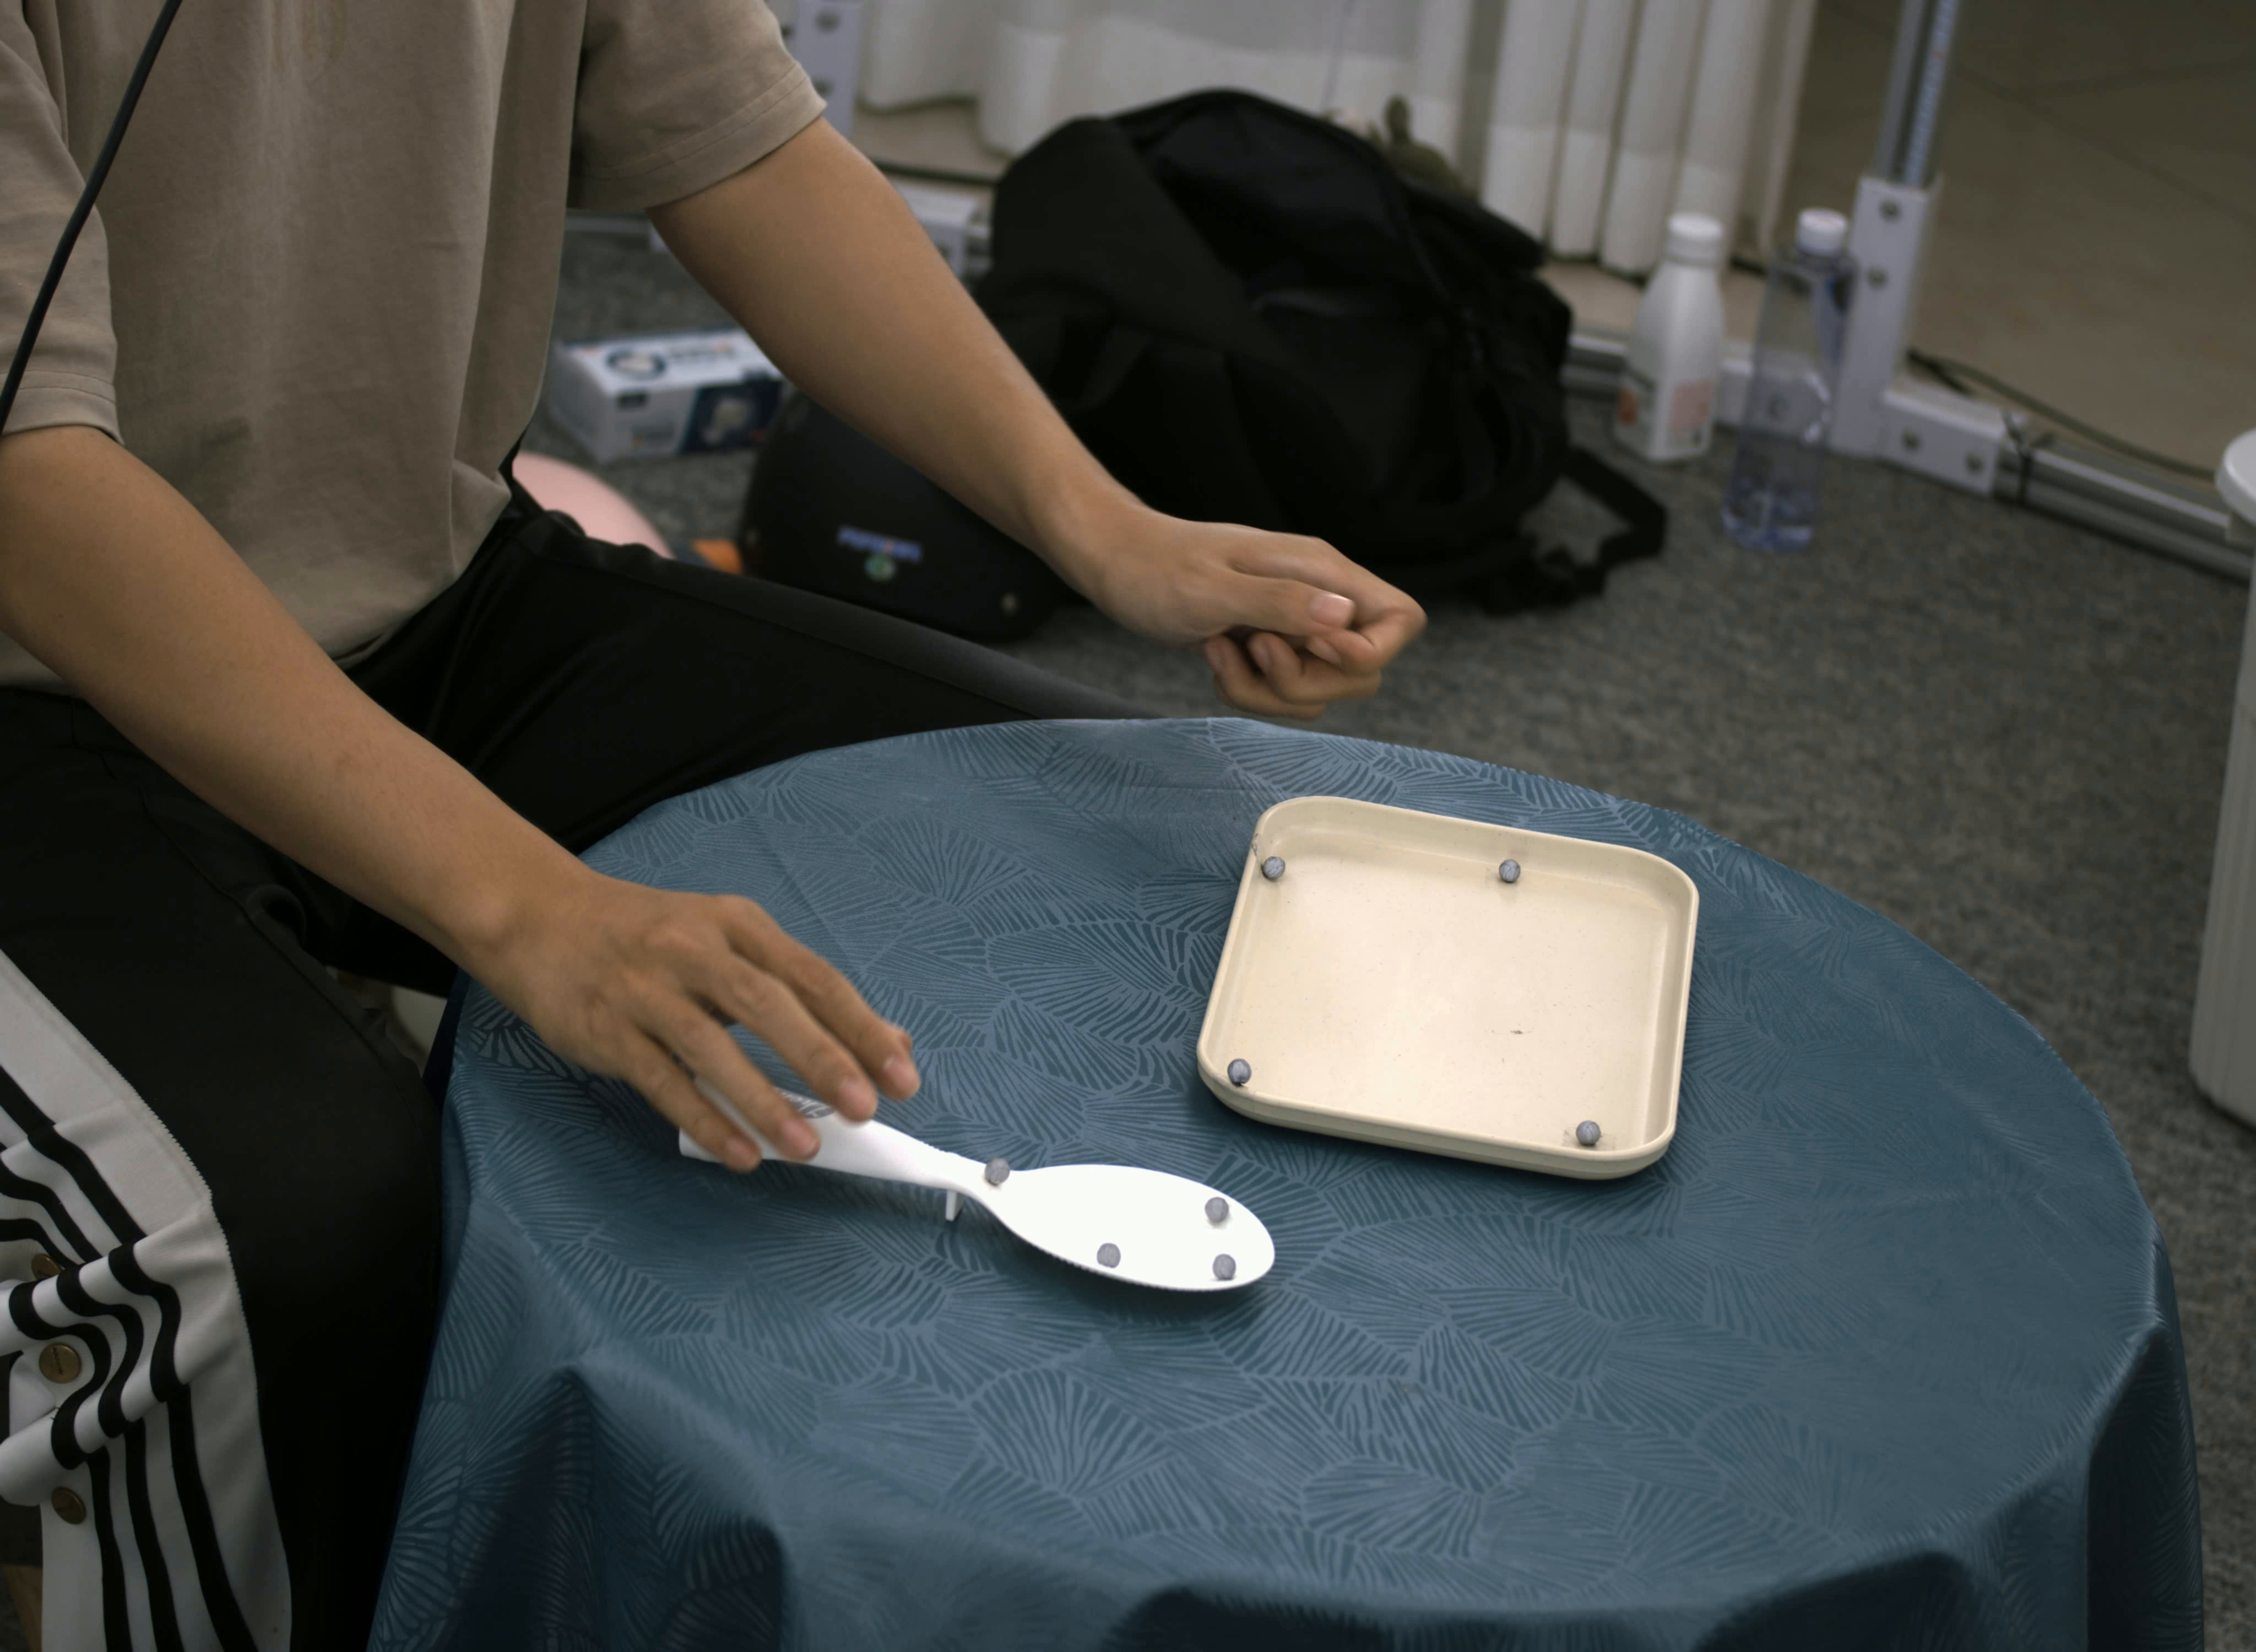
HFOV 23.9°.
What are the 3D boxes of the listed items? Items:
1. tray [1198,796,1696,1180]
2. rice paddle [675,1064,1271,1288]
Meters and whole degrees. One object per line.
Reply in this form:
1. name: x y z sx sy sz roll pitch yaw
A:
1. tray: 0.119 0.058 1.941 0.171 0.017 0.240 10 27 4
2. rice paddle: -0.050 0.117 1.771 0.205 0.029 0.069 14 29 12
